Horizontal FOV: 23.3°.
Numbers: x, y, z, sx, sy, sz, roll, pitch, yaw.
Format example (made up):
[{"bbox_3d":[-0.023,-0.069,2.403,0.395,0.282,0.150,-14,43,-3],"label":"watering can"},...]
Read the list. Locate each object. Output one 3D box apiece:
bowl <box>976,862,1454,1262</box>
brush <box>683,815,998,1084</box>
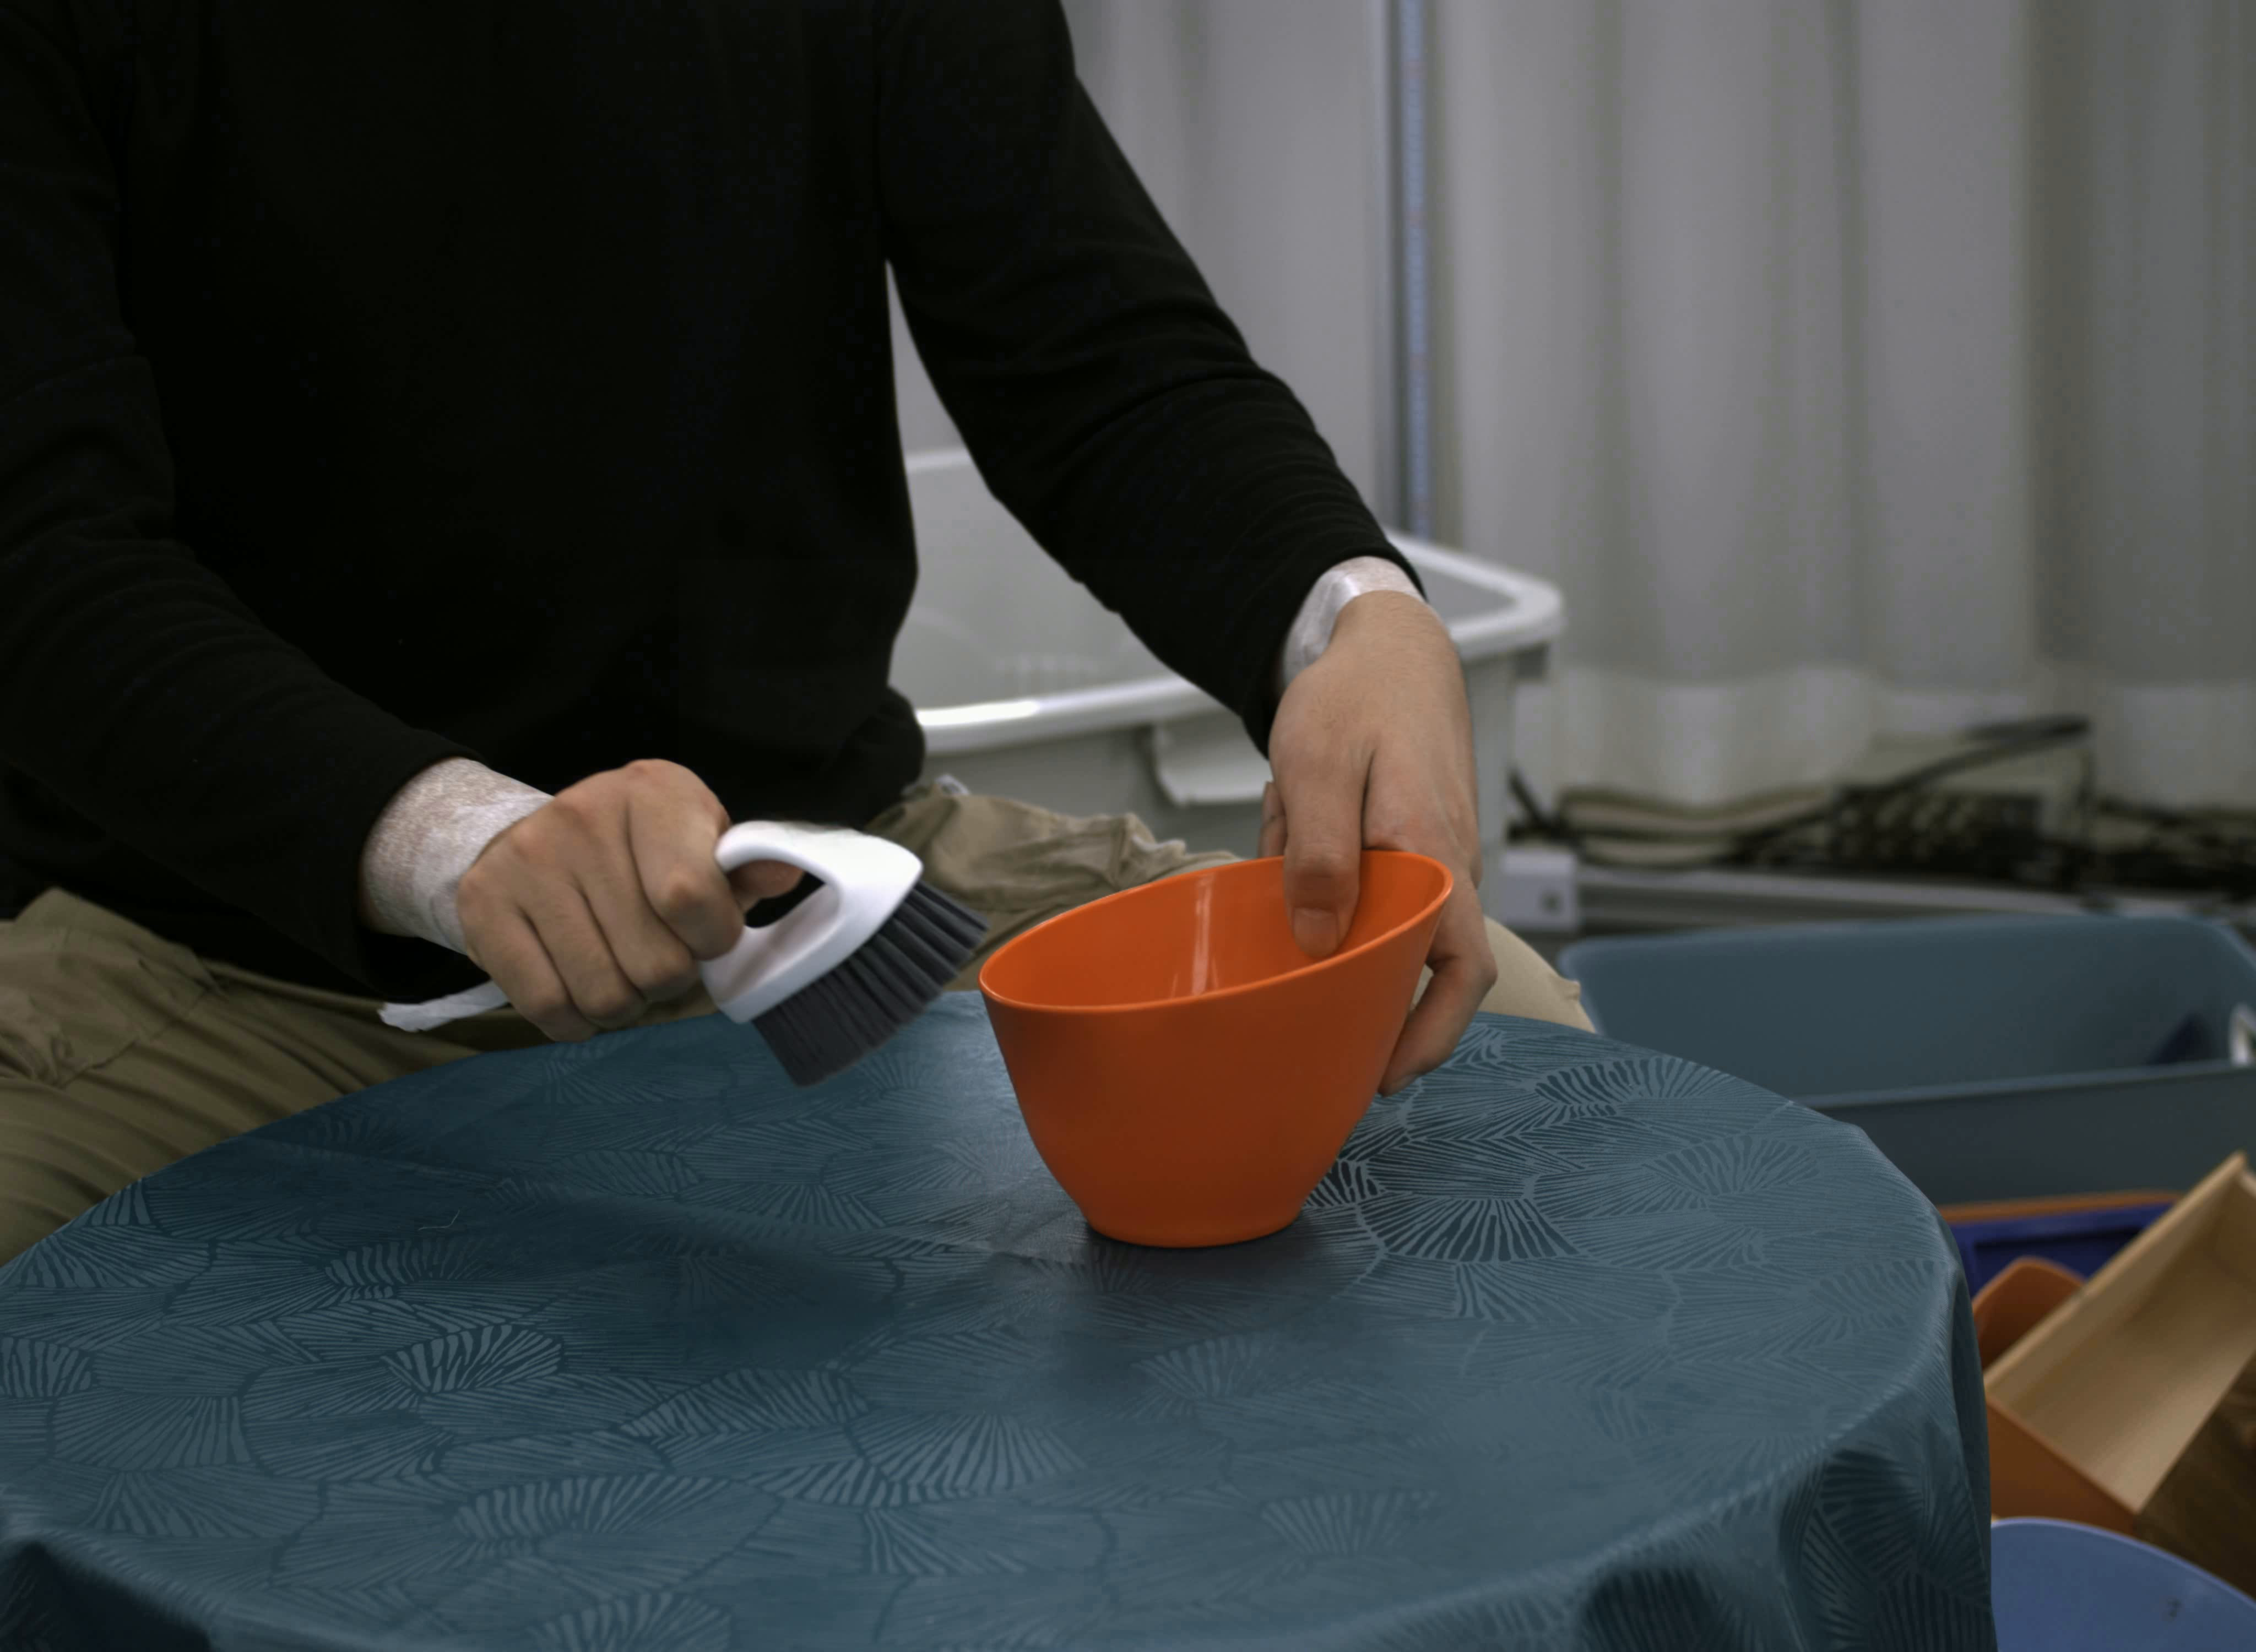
[{"bbox_3d":[0.029,0.074,1.674,0.147,0.104,0.149,-3,13,1],"label":"bowl"},{"bbox_3d":[-0.092,0.030,1.605,0.050,0.072,0.099,-55,13,-31],"label":"brush"}]
